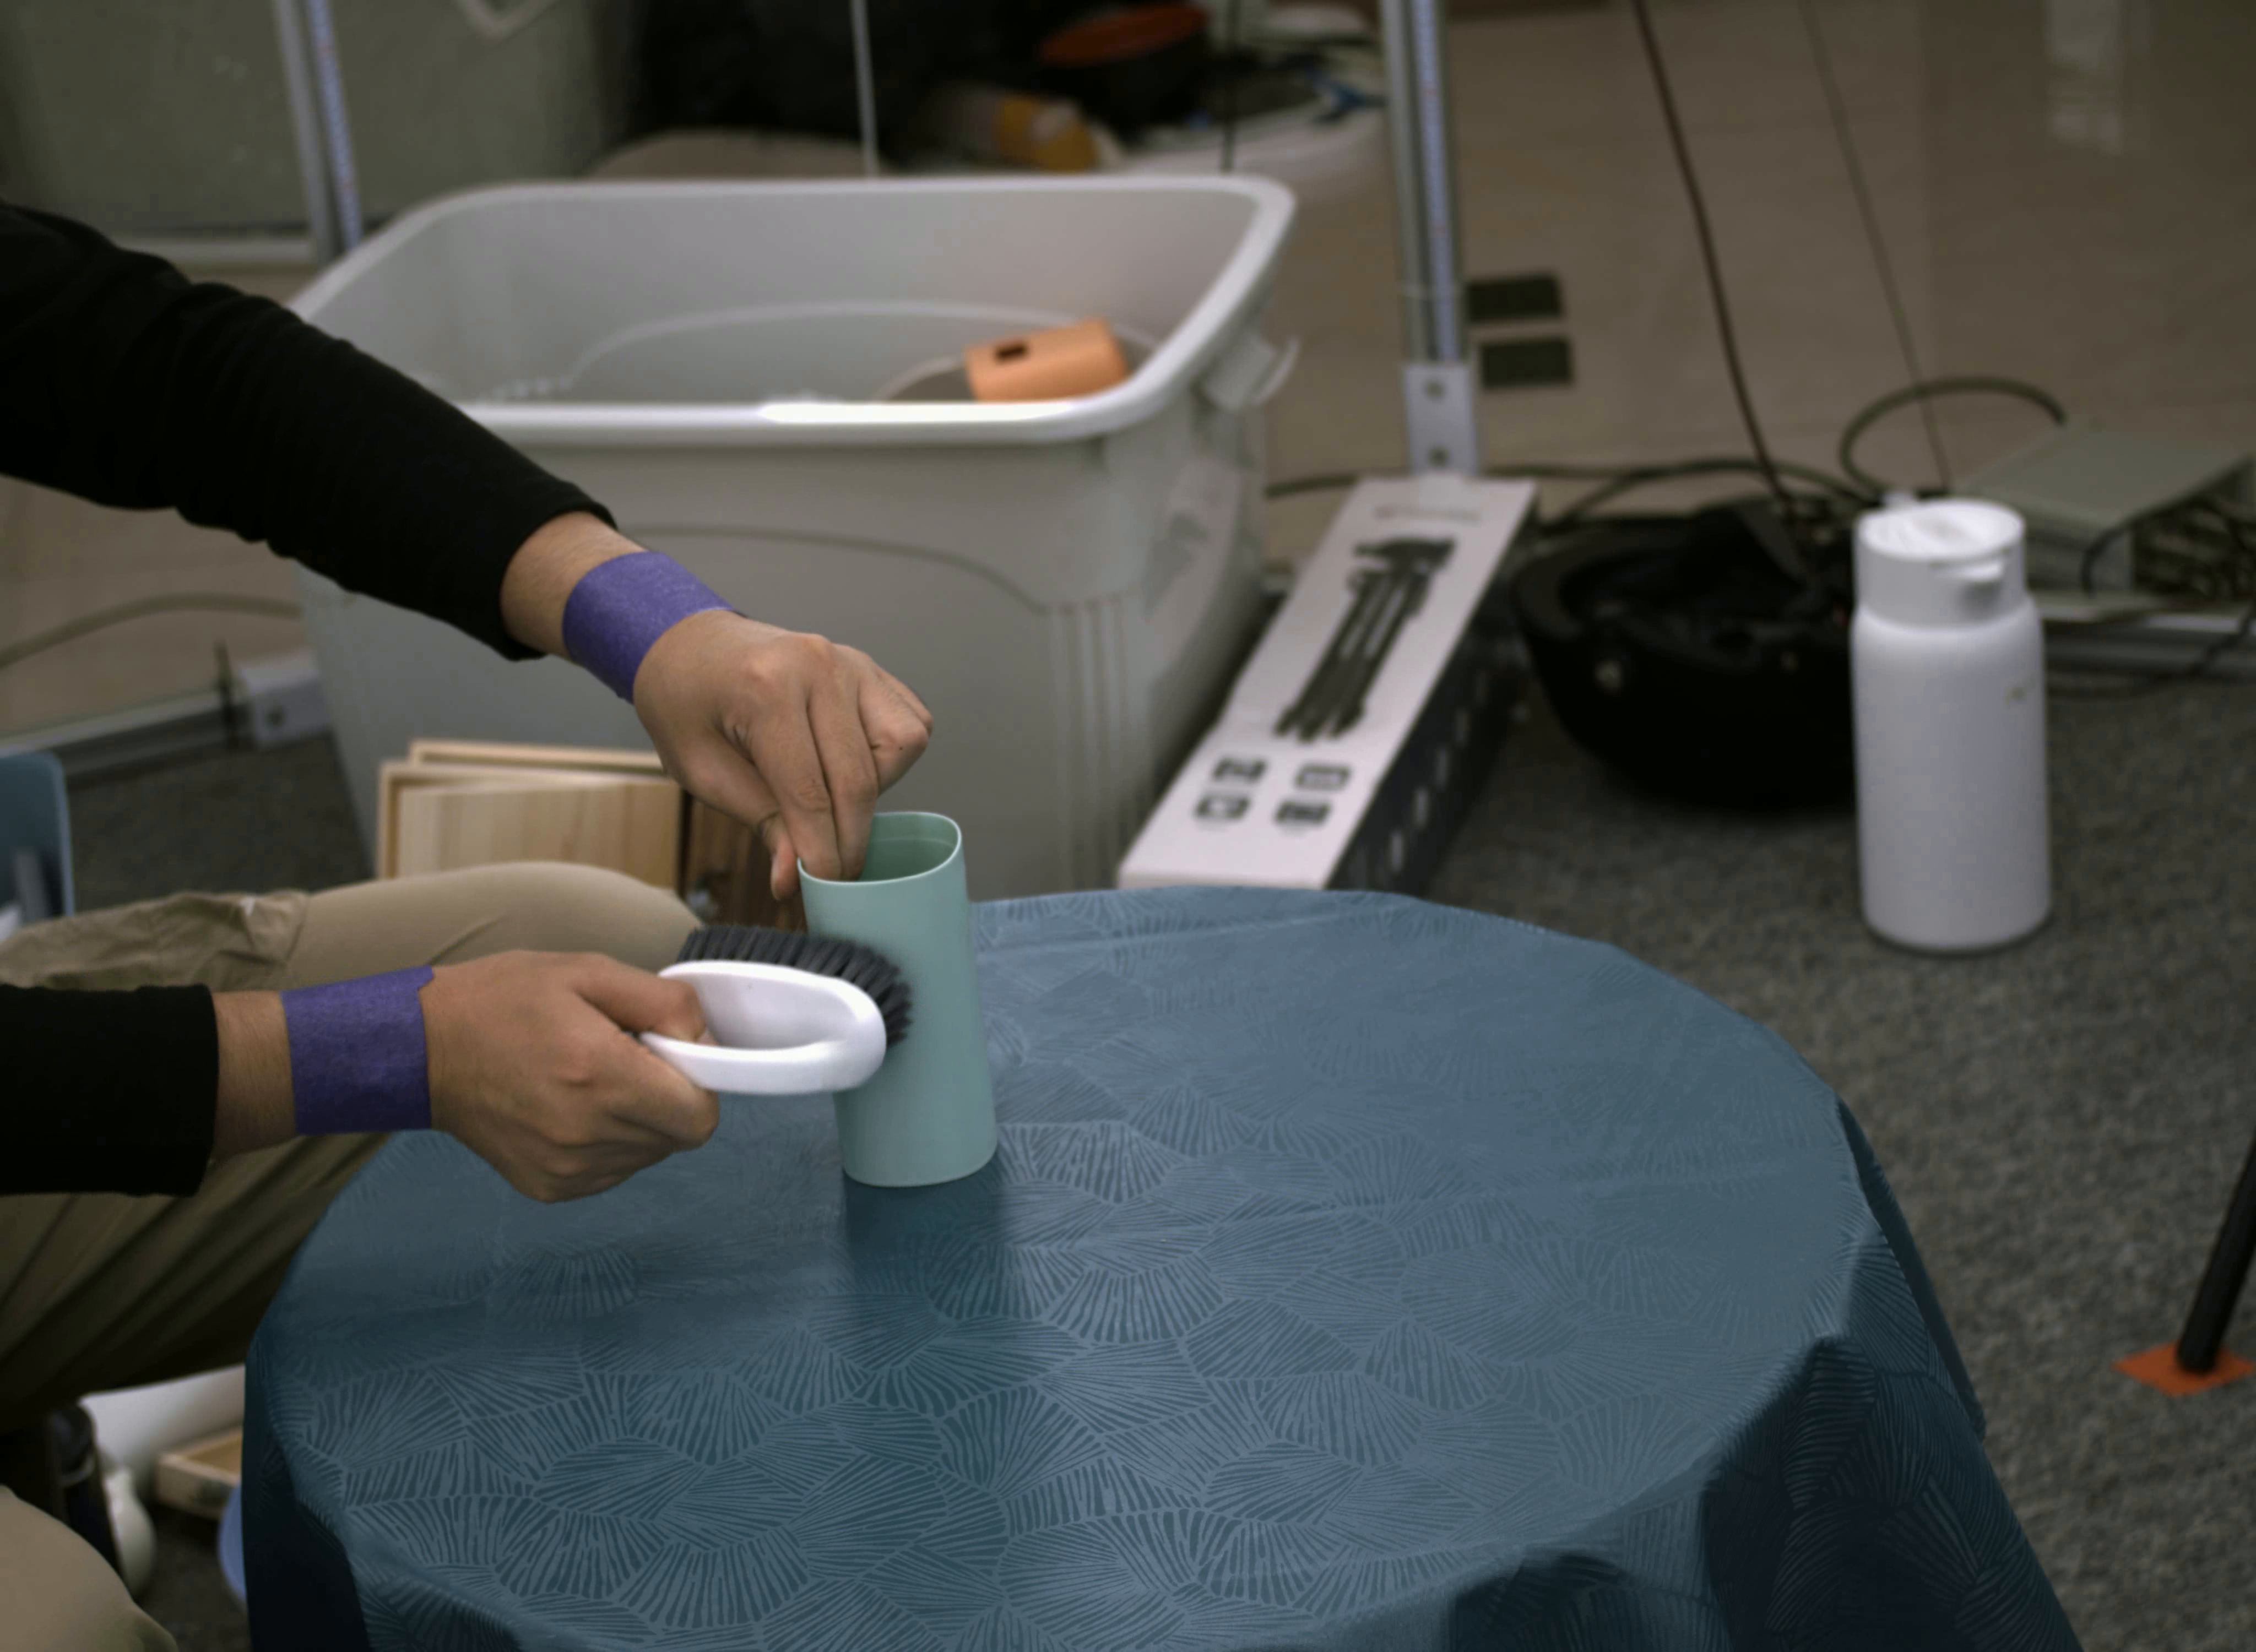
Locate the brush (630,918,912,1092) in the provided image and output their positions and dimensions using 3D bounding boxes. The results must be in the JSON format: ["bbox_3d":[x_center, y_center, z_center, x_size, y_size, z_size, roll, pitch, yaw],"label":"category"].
[{"bbox_3d":[-0.138,0.074,2.108,0.099,0.051,0.071,8,29,17],"label":"brush"}]

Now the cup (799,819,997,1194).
[{"bbox_3d":[-0.087,0.070,2.169,0.066,0.134,0.066,-5,26,2],"label":"cup"}]
